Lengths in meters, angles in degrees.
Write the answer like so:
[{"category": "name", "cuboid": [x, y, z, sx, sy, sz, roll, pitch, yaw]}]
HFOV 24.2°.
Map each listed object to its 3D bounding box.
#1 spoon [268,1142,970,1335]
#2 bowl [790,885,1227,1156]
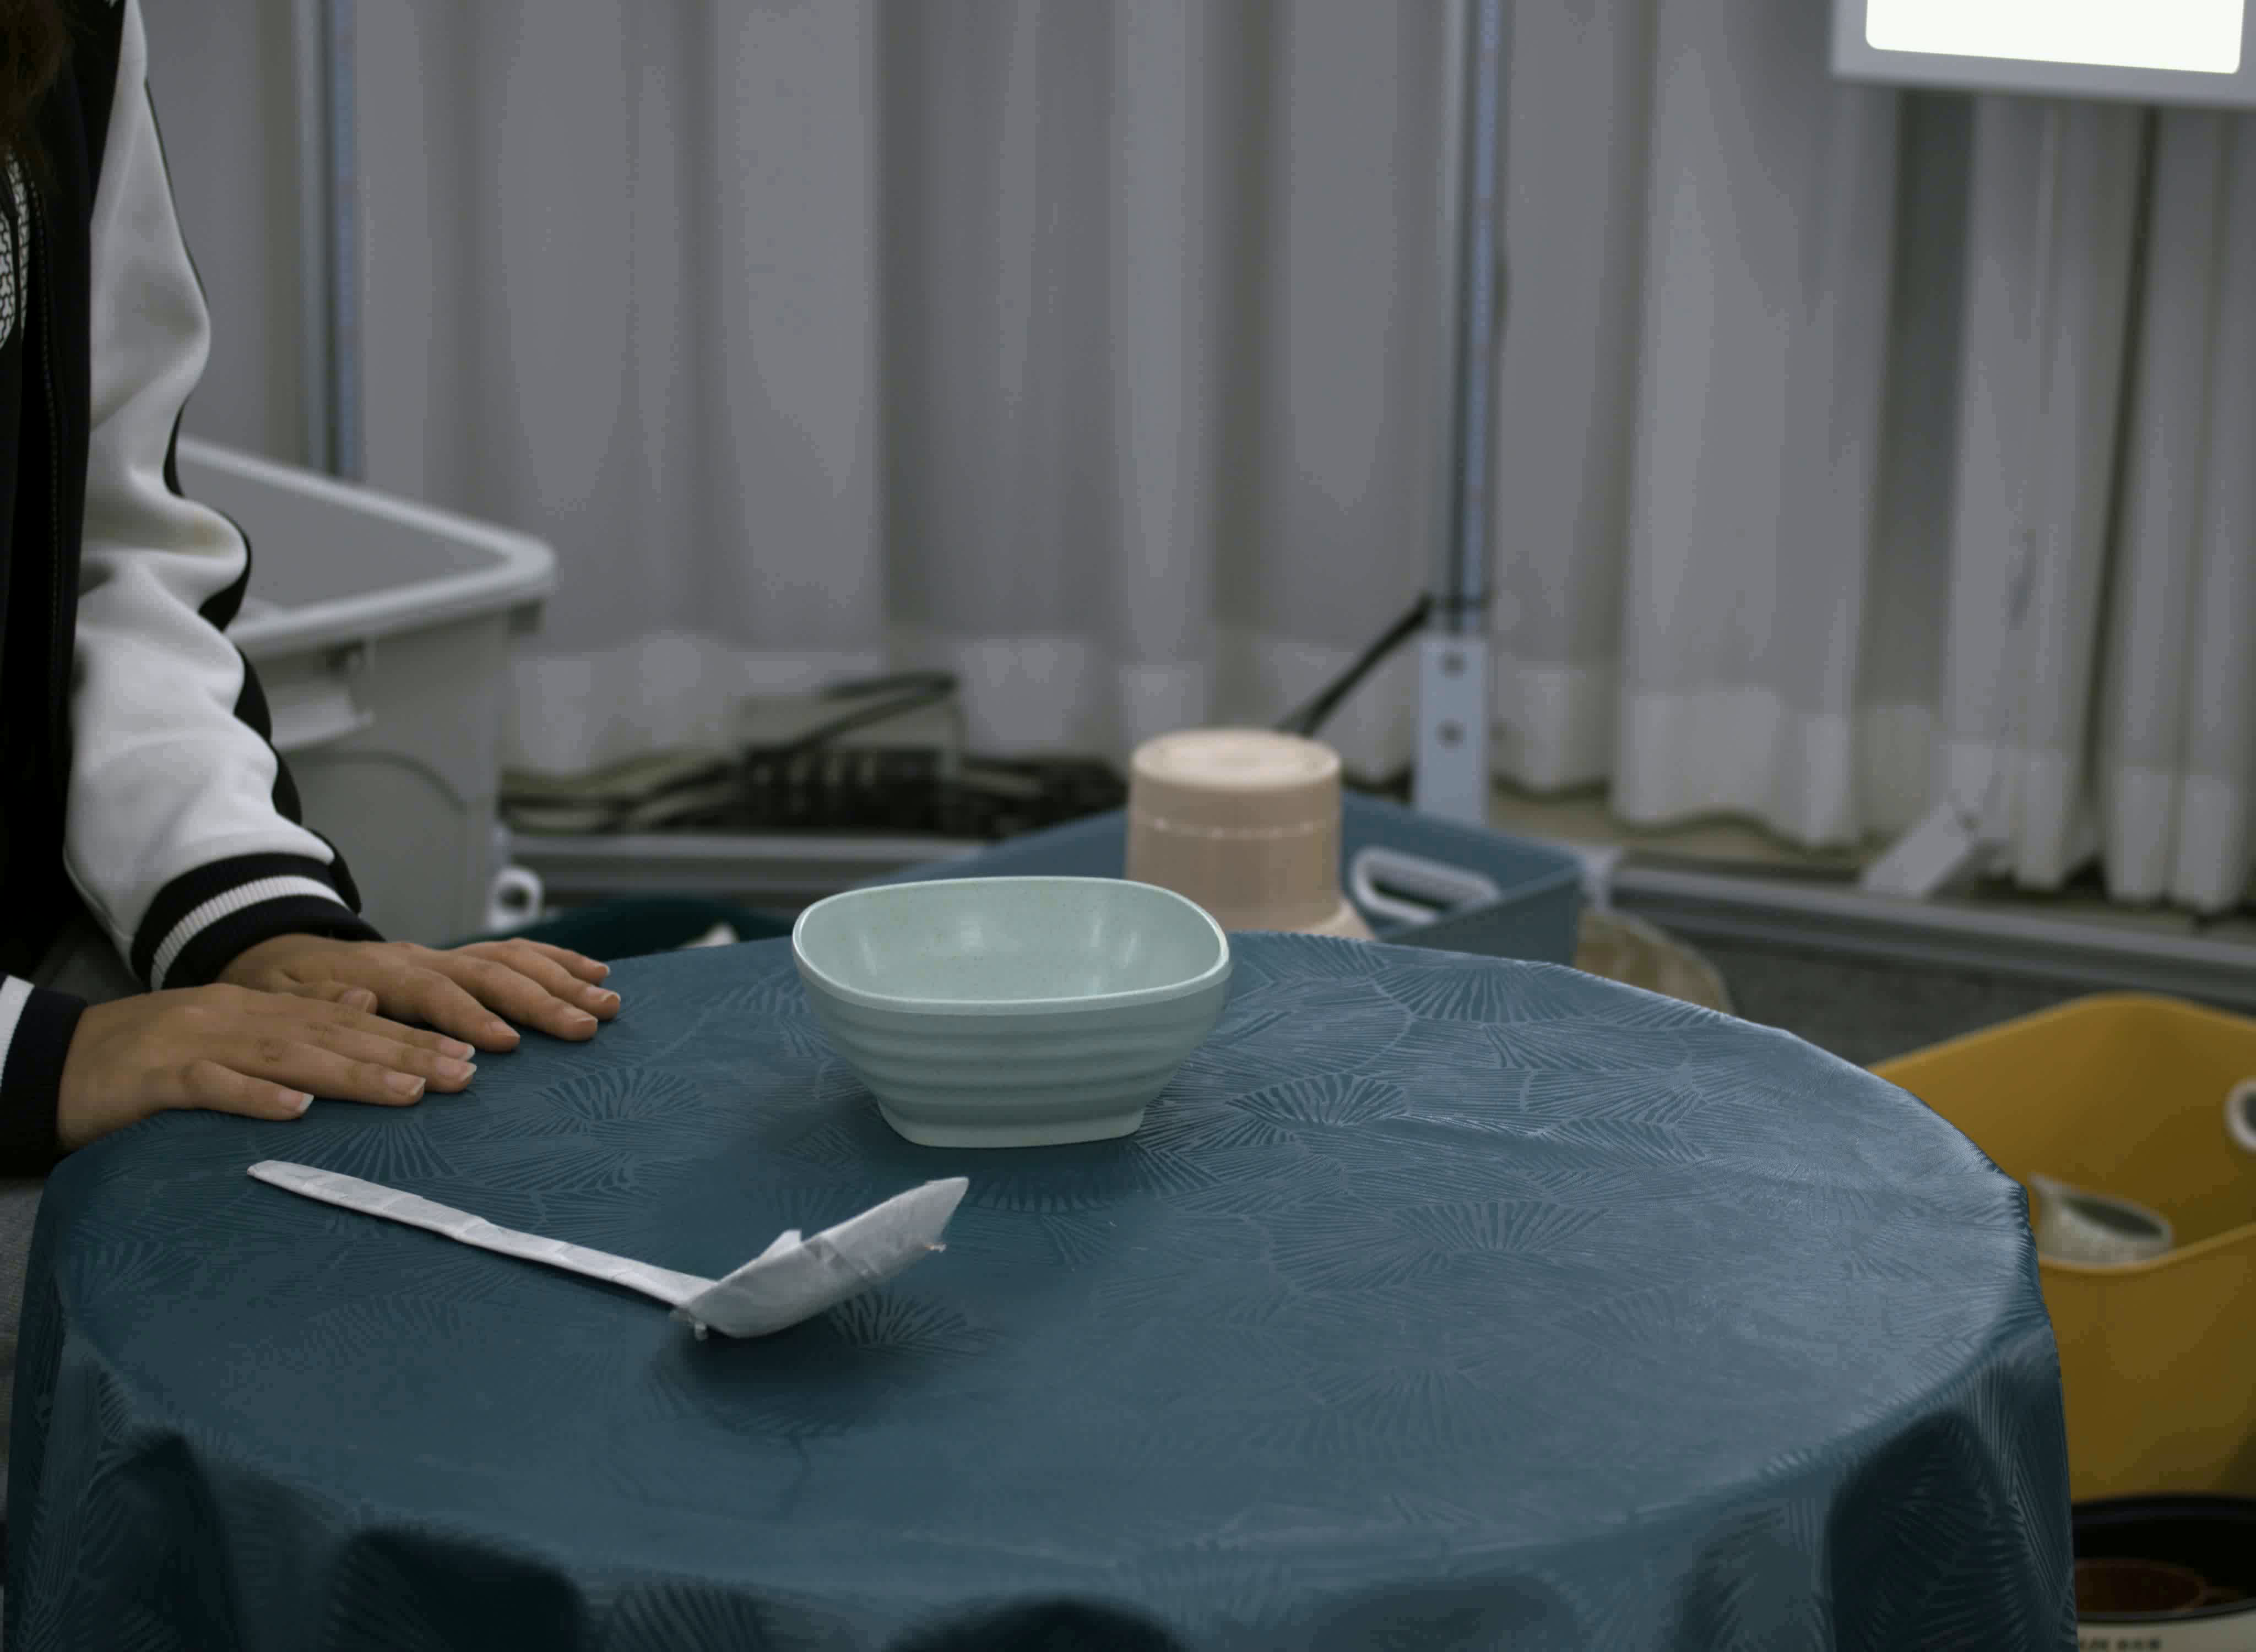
[{"category": "spoon", "cuboid": [-0.158, 0.101, 1.550, 0.274, 0.060, 0.101, 14, 16, 40]}, {"category": "bowl", "cuboid": [-0.038, 0.065, 1.691, 0.151, 0.059, 0.150, 1, 15, 0]}]
